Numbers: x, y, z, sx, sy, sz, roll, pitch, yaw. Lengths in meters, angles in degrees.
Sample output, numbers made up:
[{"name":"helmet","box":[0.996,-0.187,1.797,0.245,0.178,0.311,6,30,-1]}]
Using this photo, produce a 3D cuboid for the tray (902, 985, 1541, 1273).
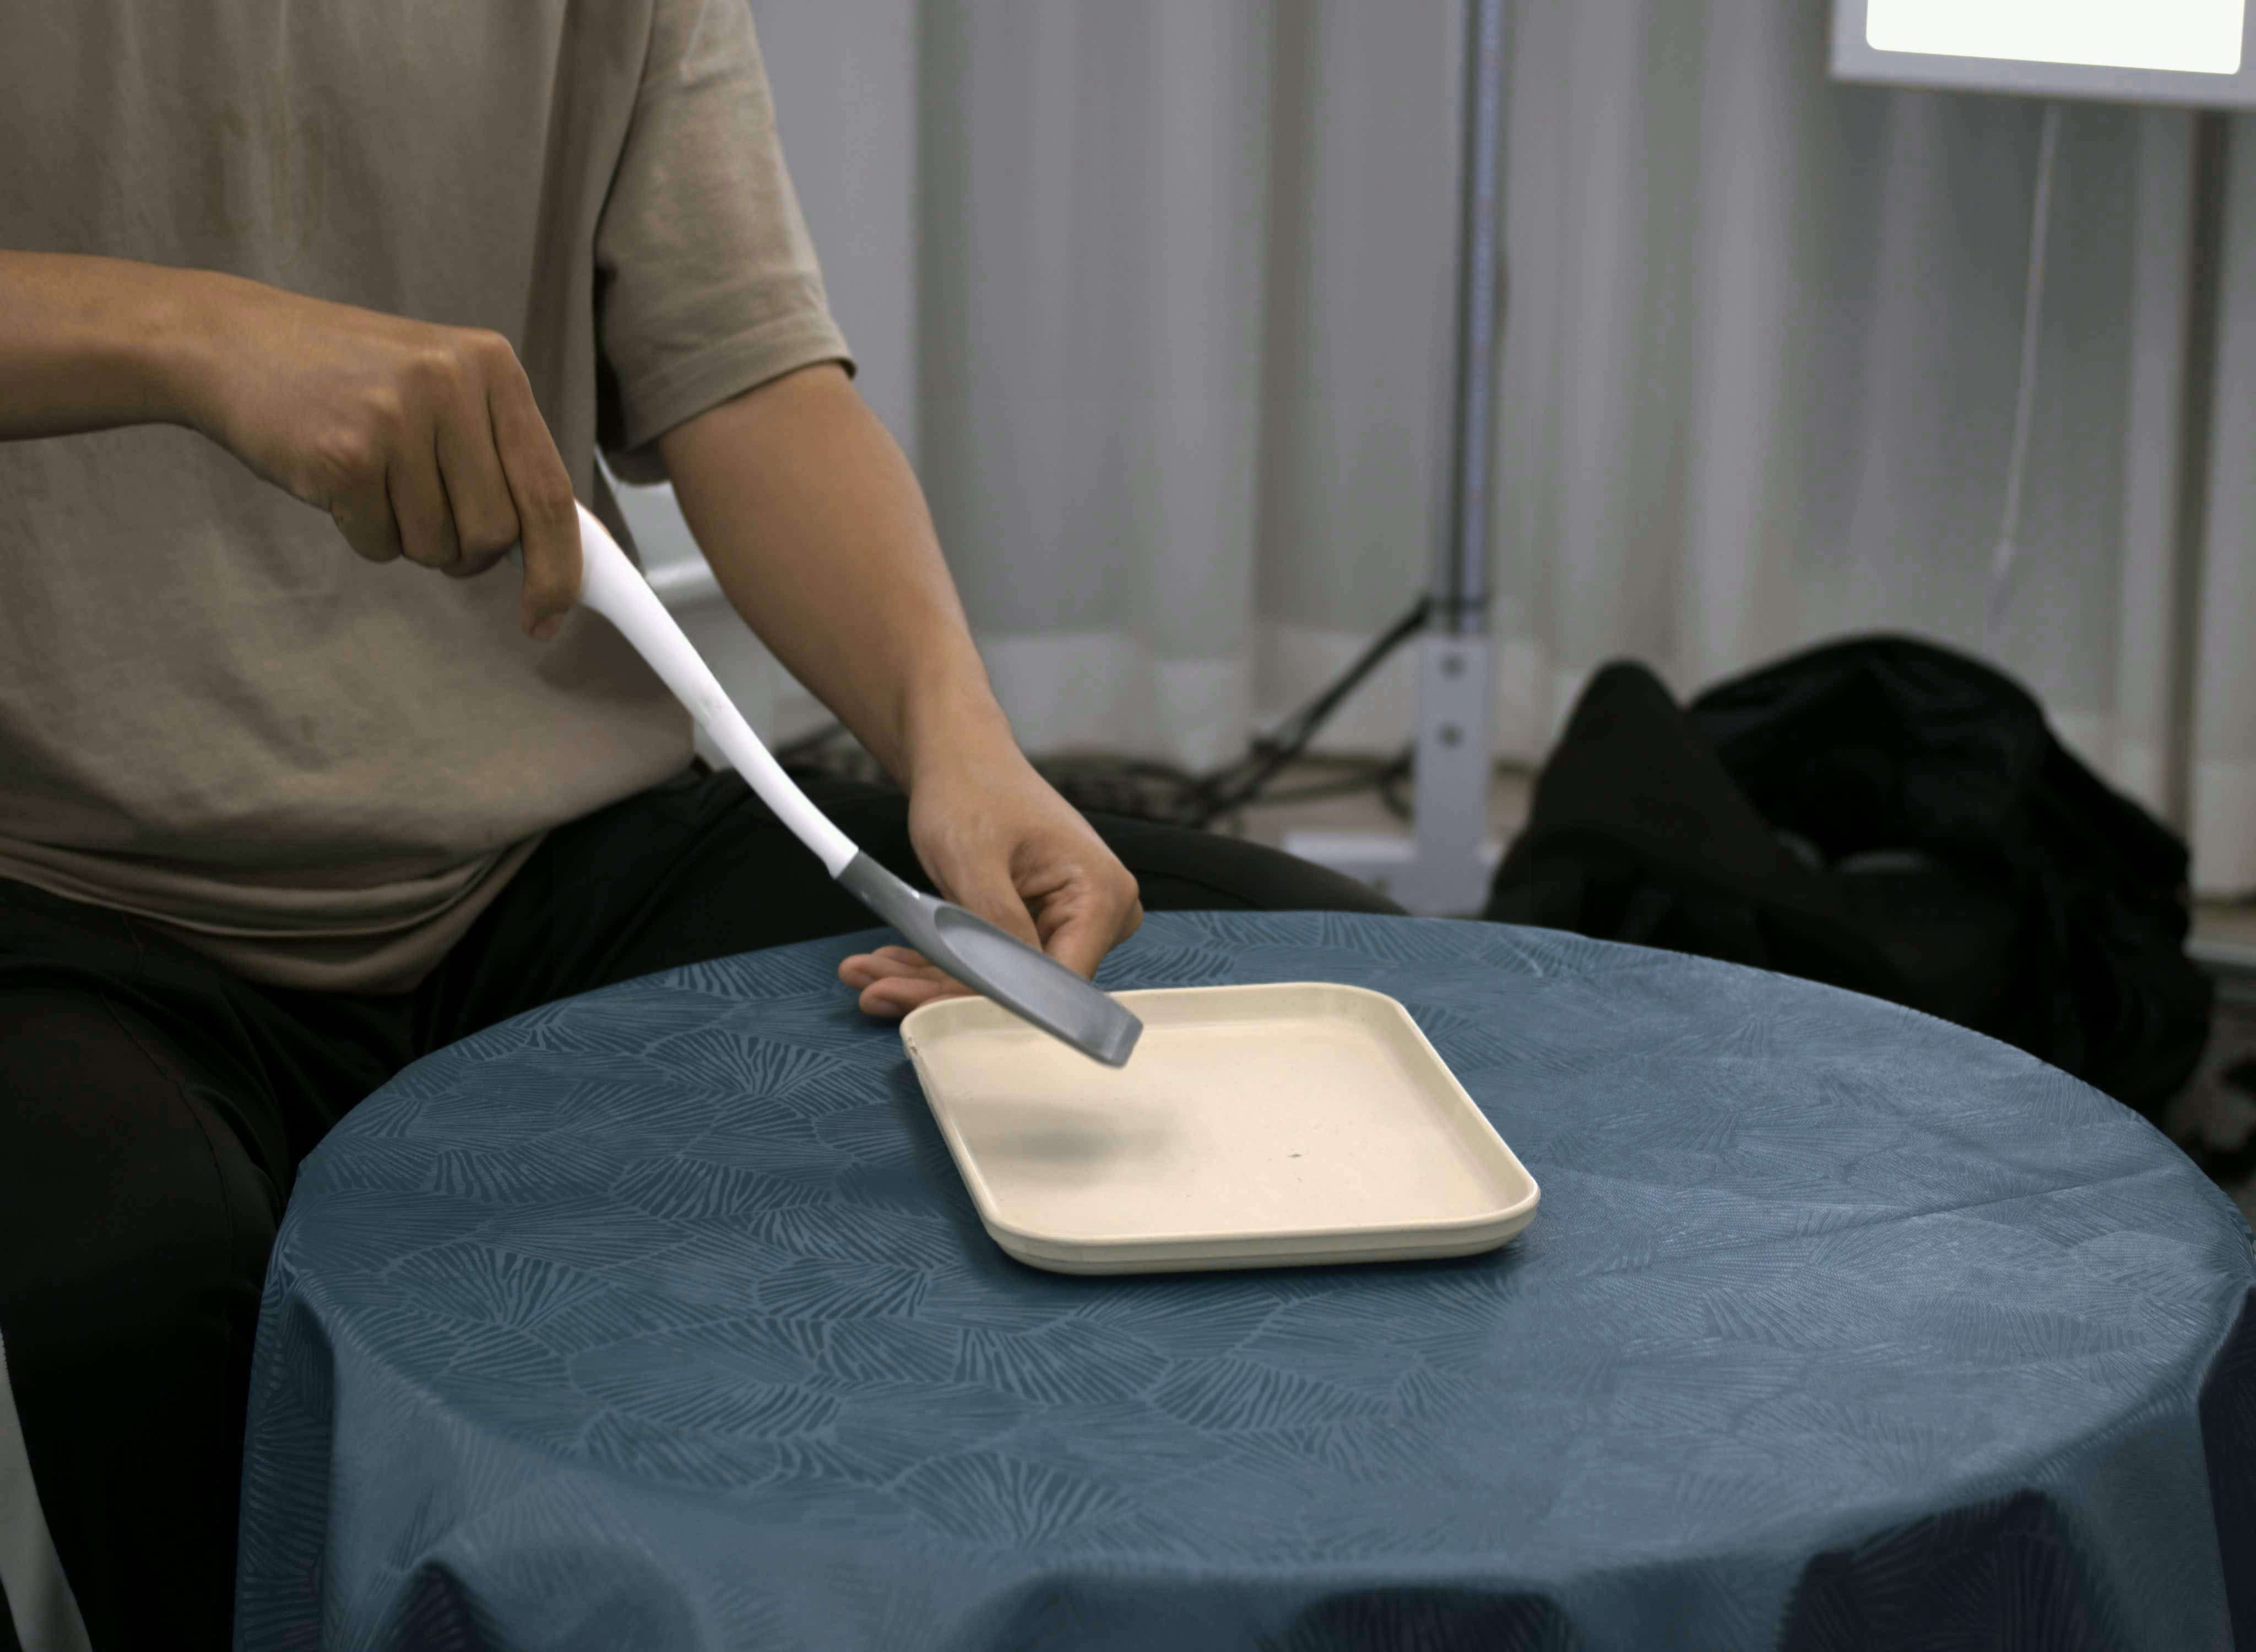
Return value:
[{"name":"tray","box":[0.025,0.094,1.658,0.171,0.017,0.237,-1,16,-10]}]

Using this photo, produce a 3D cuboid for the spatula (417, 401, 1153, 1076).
[{"name":"spatula","box":[-0.104,-0.022,1.630,0.288,0.032,0.058,43,15,-7]}]
